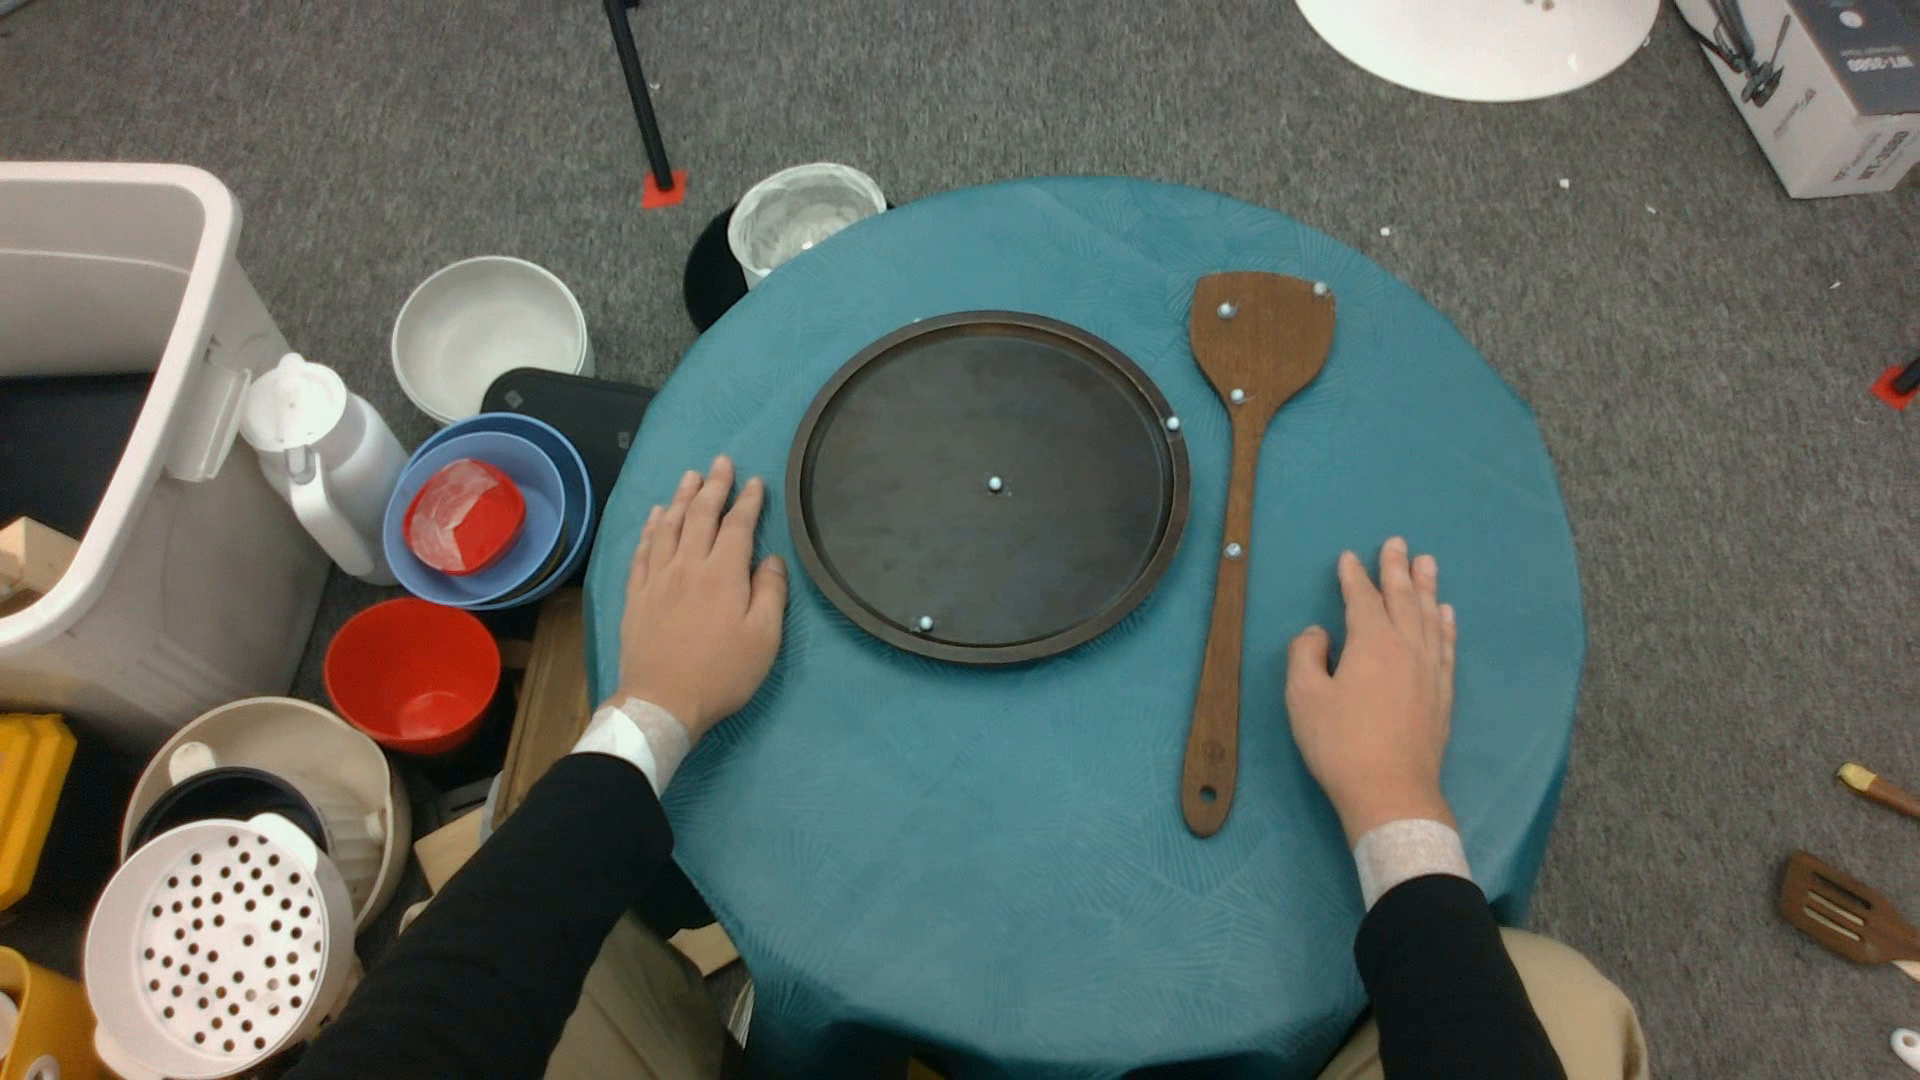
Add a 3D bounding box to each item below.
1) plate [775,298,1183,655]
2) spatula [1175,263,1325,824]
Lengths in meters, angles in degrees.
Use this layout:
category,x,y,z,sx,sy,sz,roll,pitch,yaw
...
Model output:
category,x,y,z,sx,sy,sz,roll,pitch,yaw
plate,0.011,-0.044,0.857,0.255,0.029,0.256,0,62,0
spatula,0.165,-0.015,0.842,0.096,0.016,0.387,8,63,7
